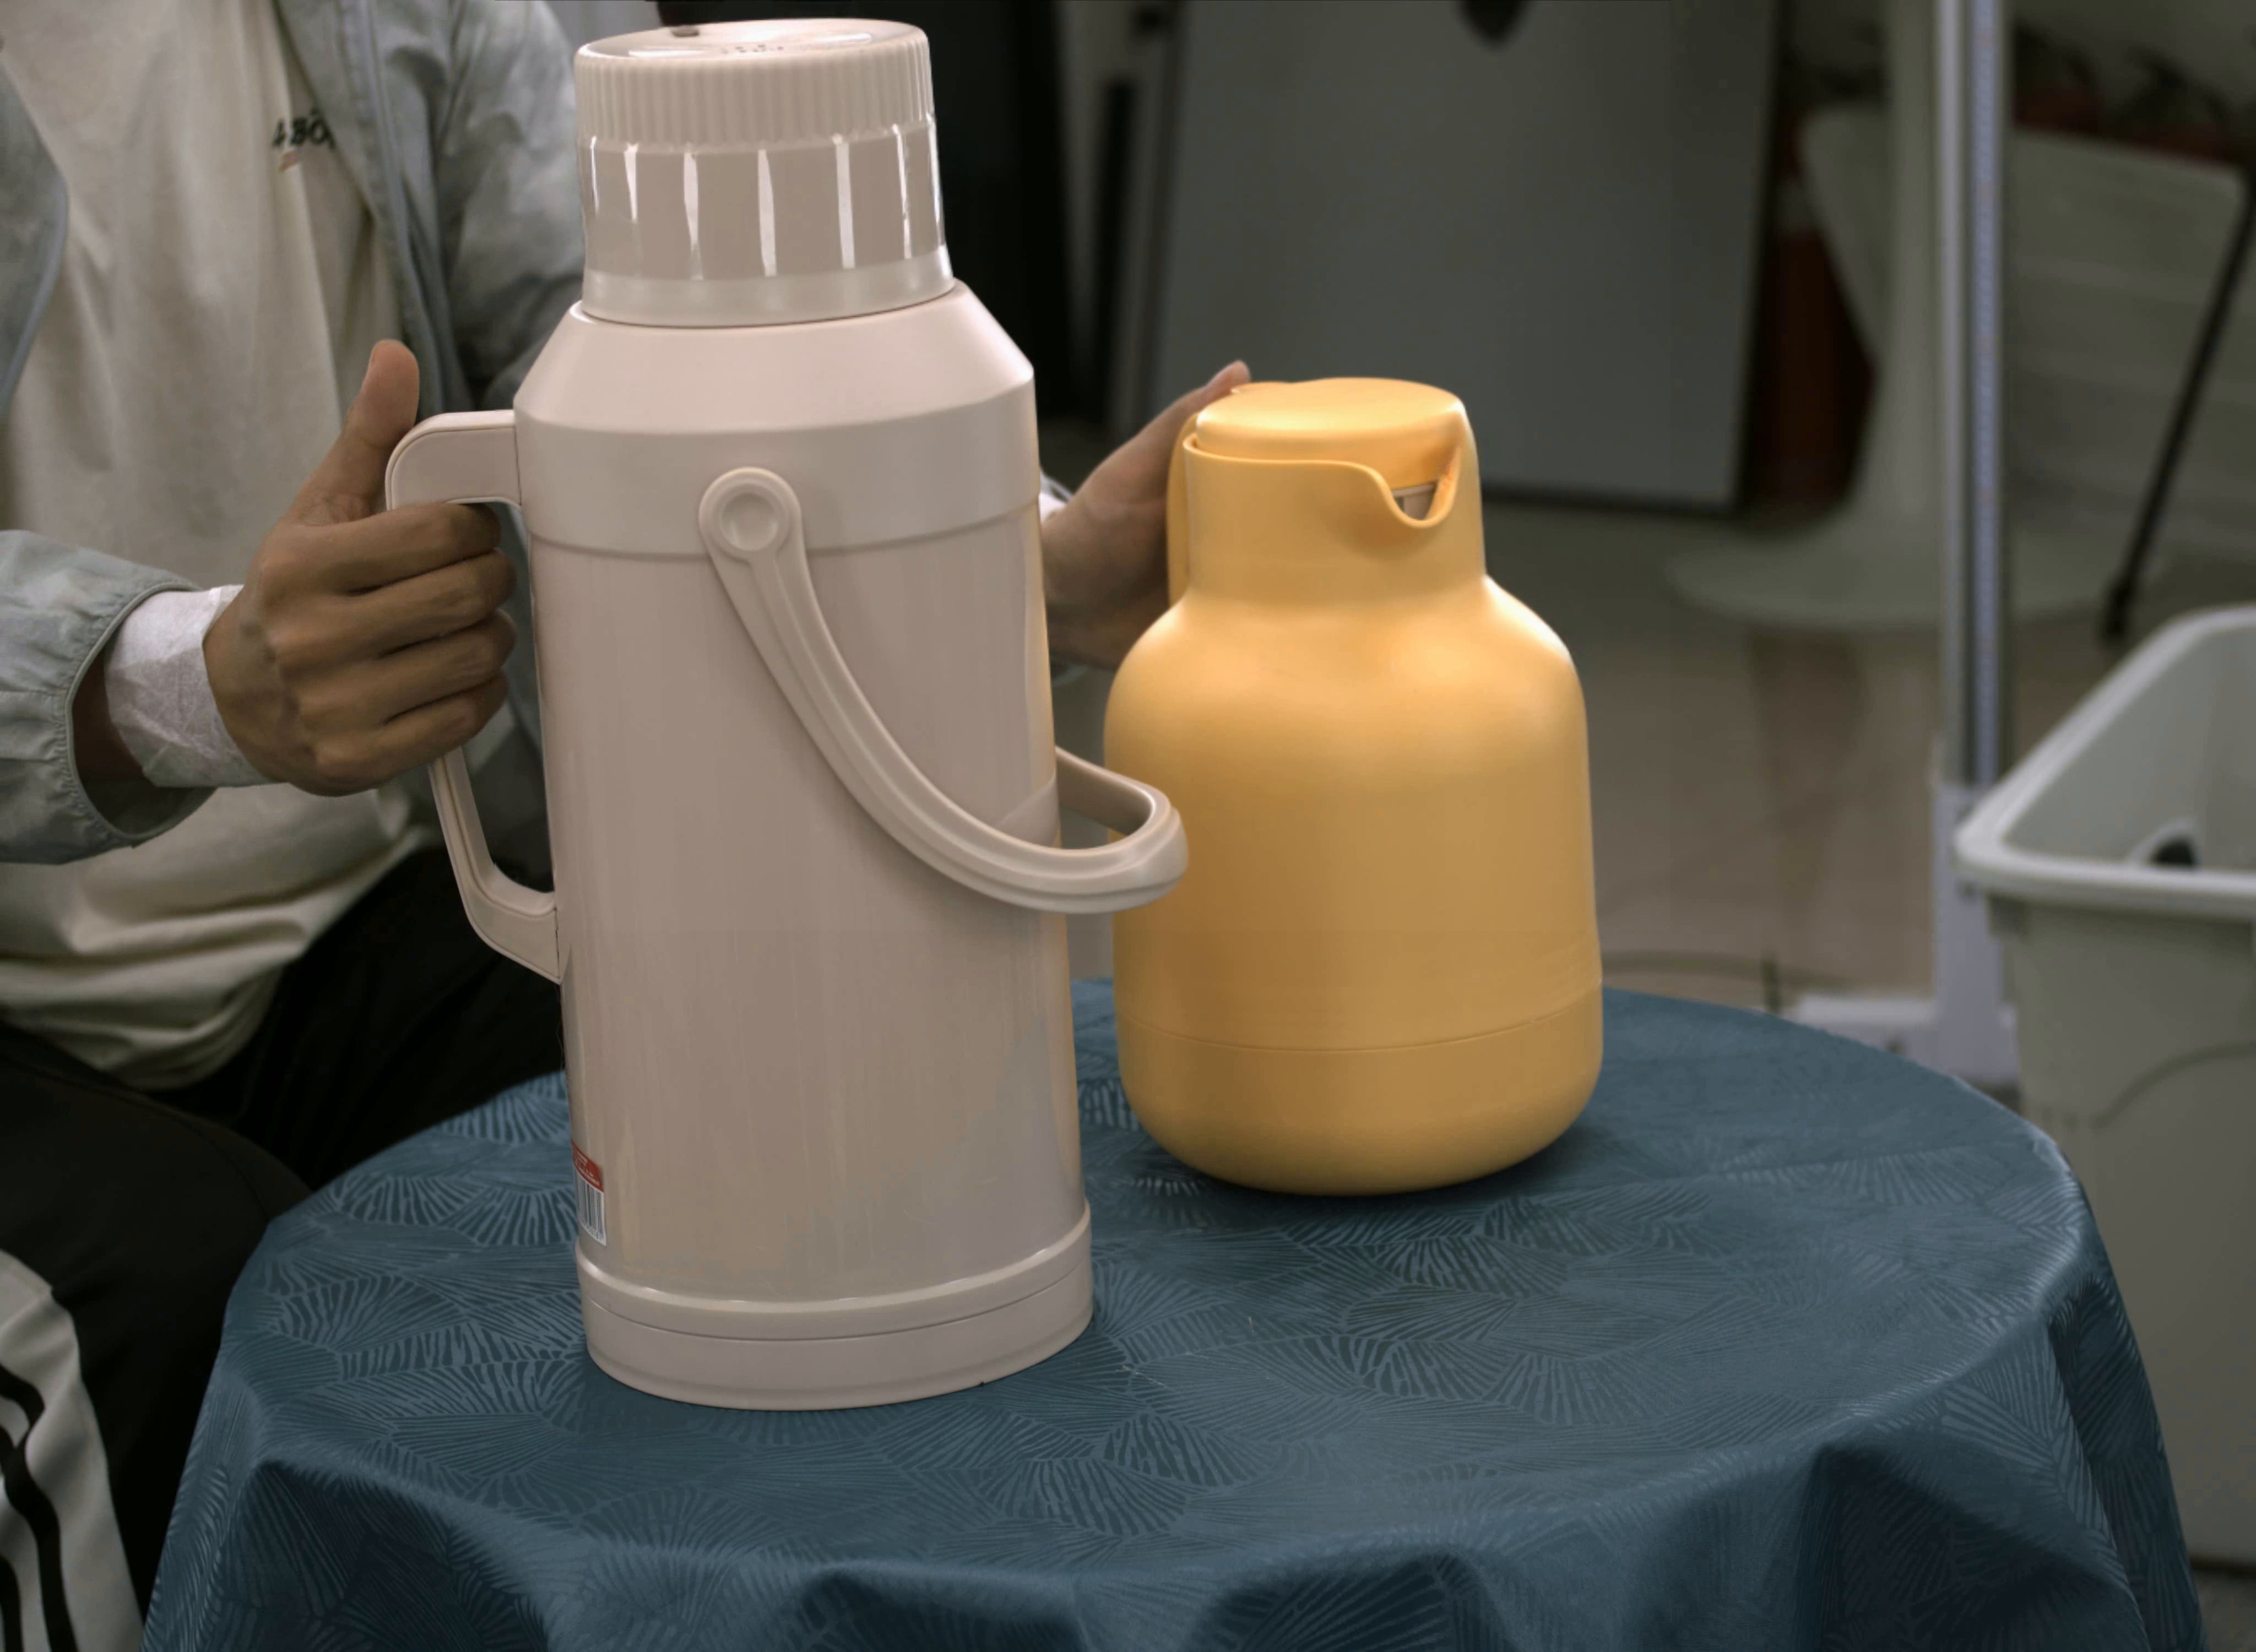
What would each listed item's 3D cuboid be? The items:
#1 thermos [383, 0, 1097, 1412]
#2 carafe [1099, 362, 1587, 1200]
[{"bbox_3d":[-0.114,-0.039,1.622,0.205,0.411,0.175,-2,14,4],"label":"thermos"},{"bbox_3d":[0.065,-0.023,1.790,0.160,0.263,0.204,-5,15,-18],"label":"carafe"}]
